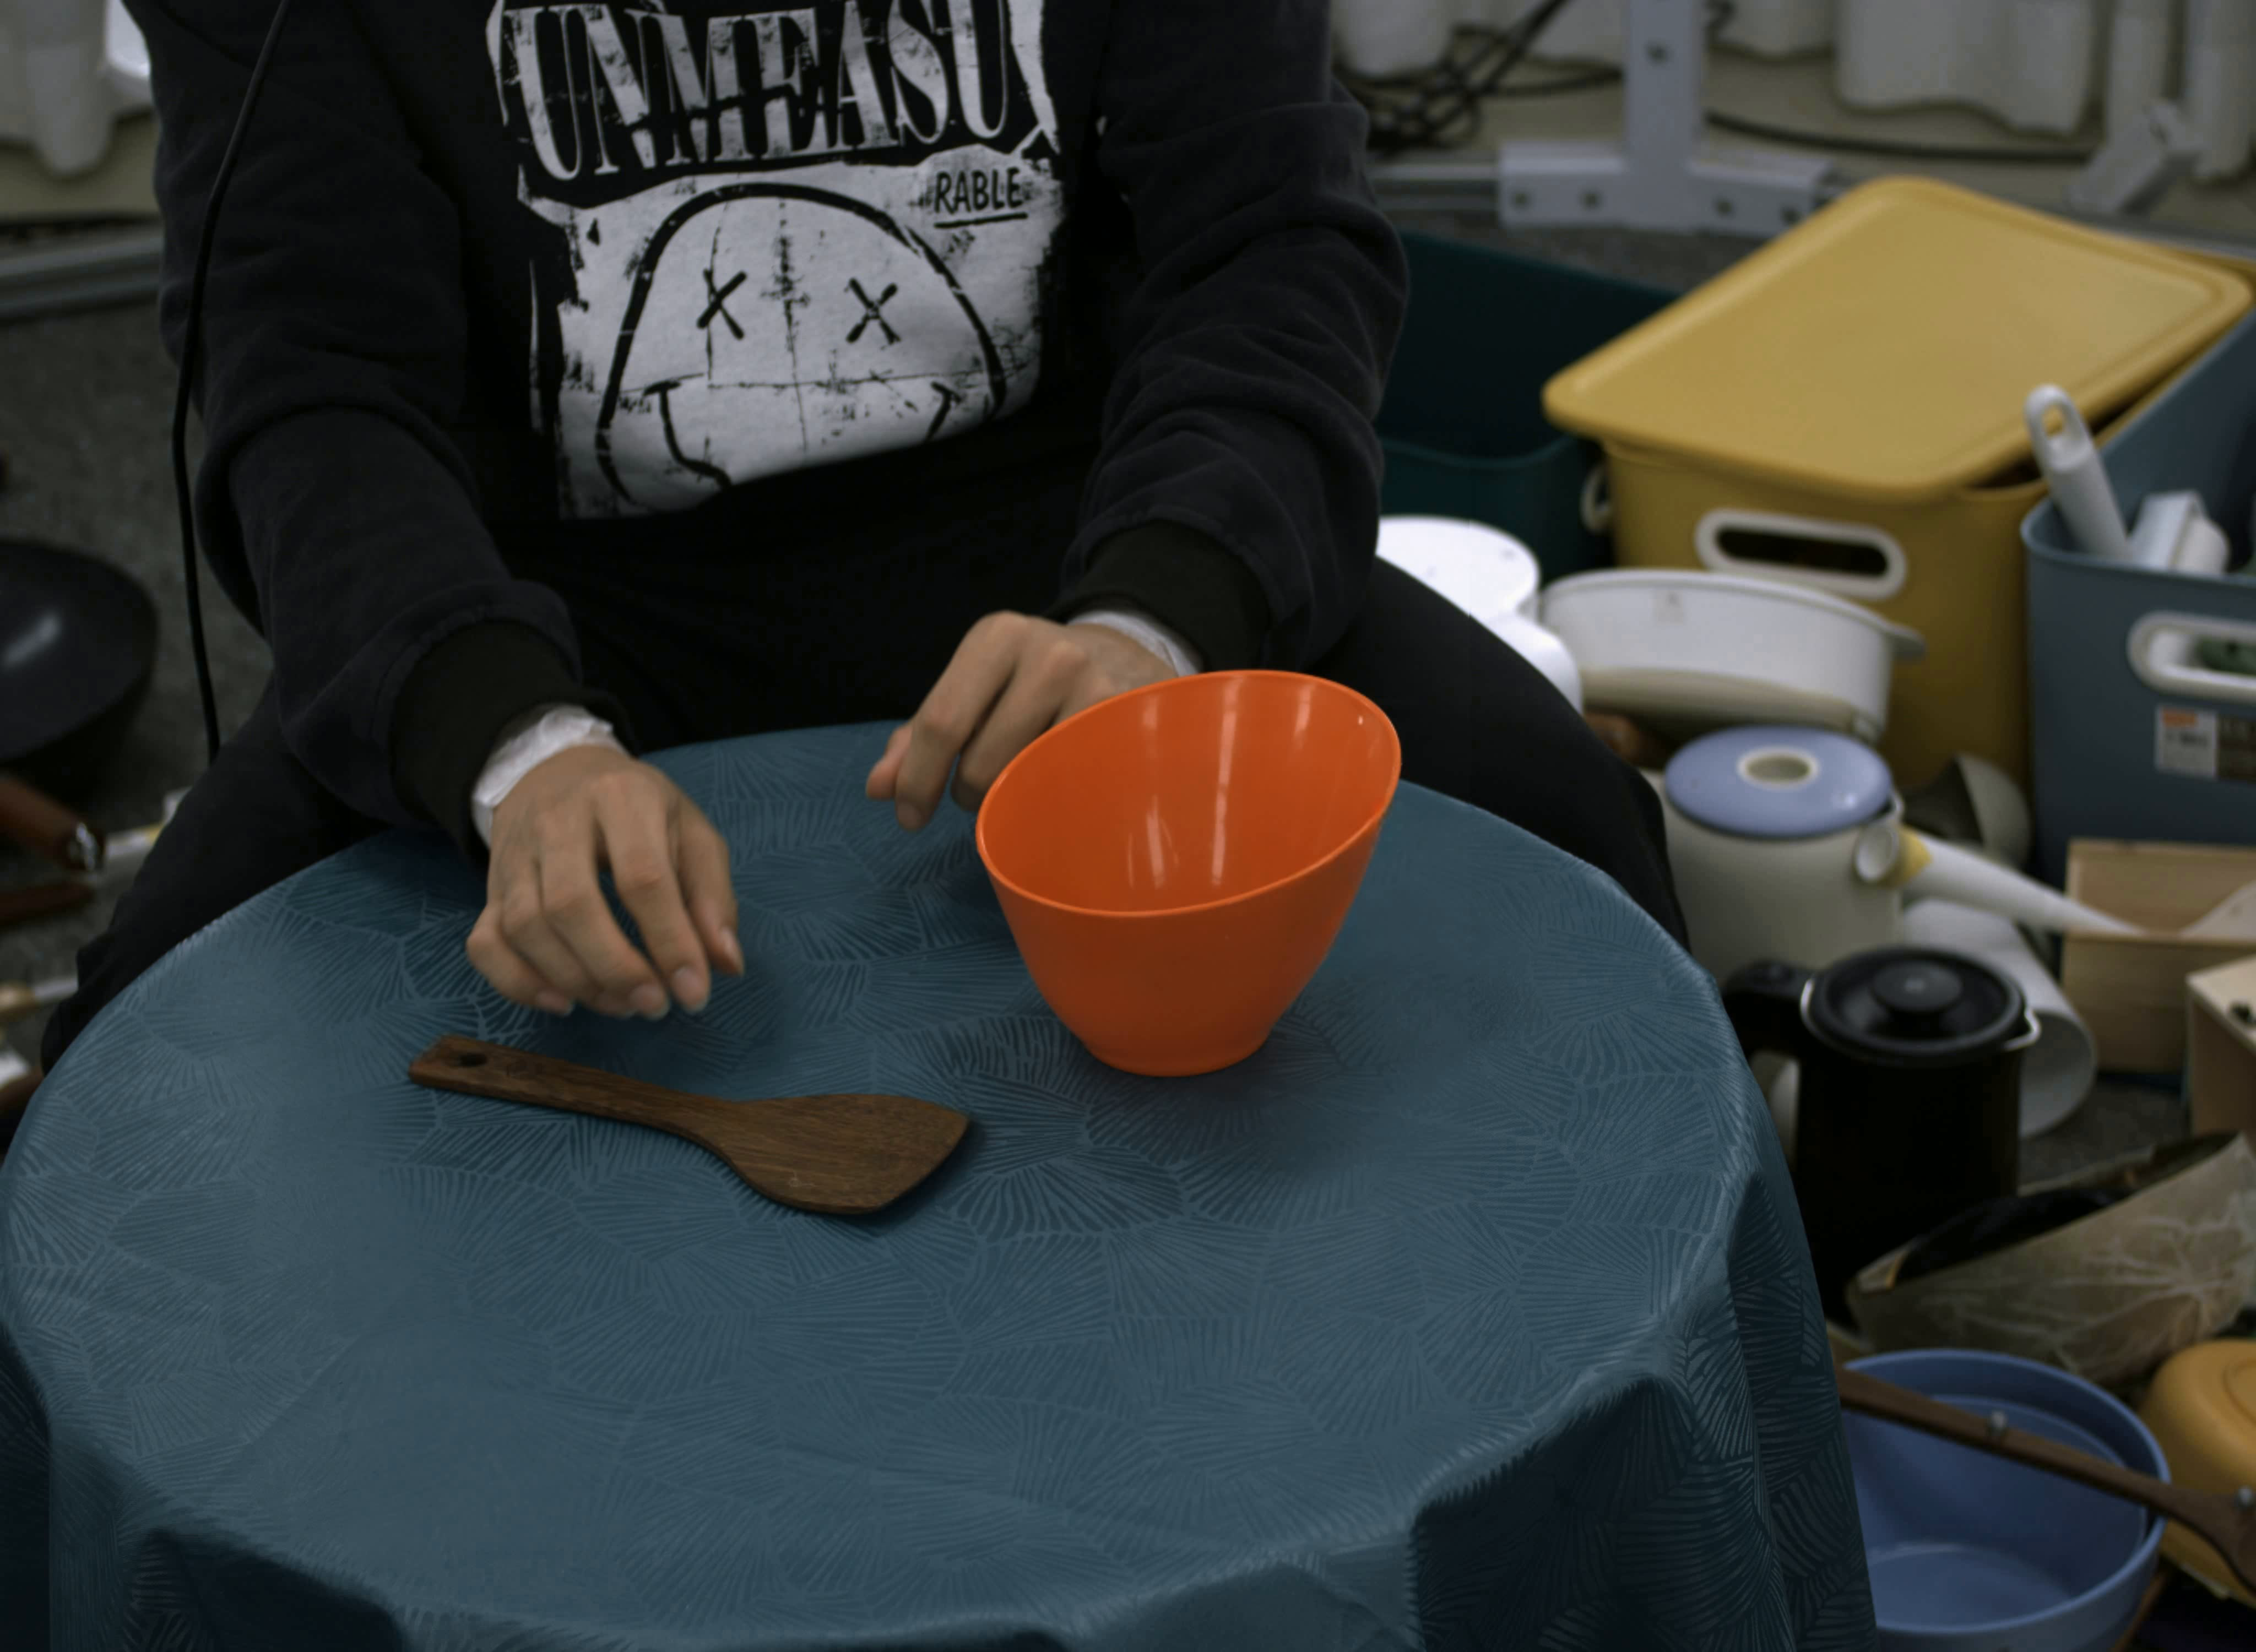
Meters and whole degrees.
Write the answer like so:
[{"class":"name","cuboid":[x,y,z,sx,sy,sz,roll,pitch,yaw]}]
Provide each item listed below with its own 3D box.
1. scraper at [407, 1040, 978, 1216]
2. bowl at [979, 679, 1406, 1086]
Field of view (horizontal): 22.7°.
[{"class":"scraper","cuboid":[-0.154,0.098,1.913,0.210,0.011,0.077,10,29,25]},{"class":"bowl","cuboid":[0.024,0.025,1.937,0.147,0.103,0.150,-2,27,1]}]
